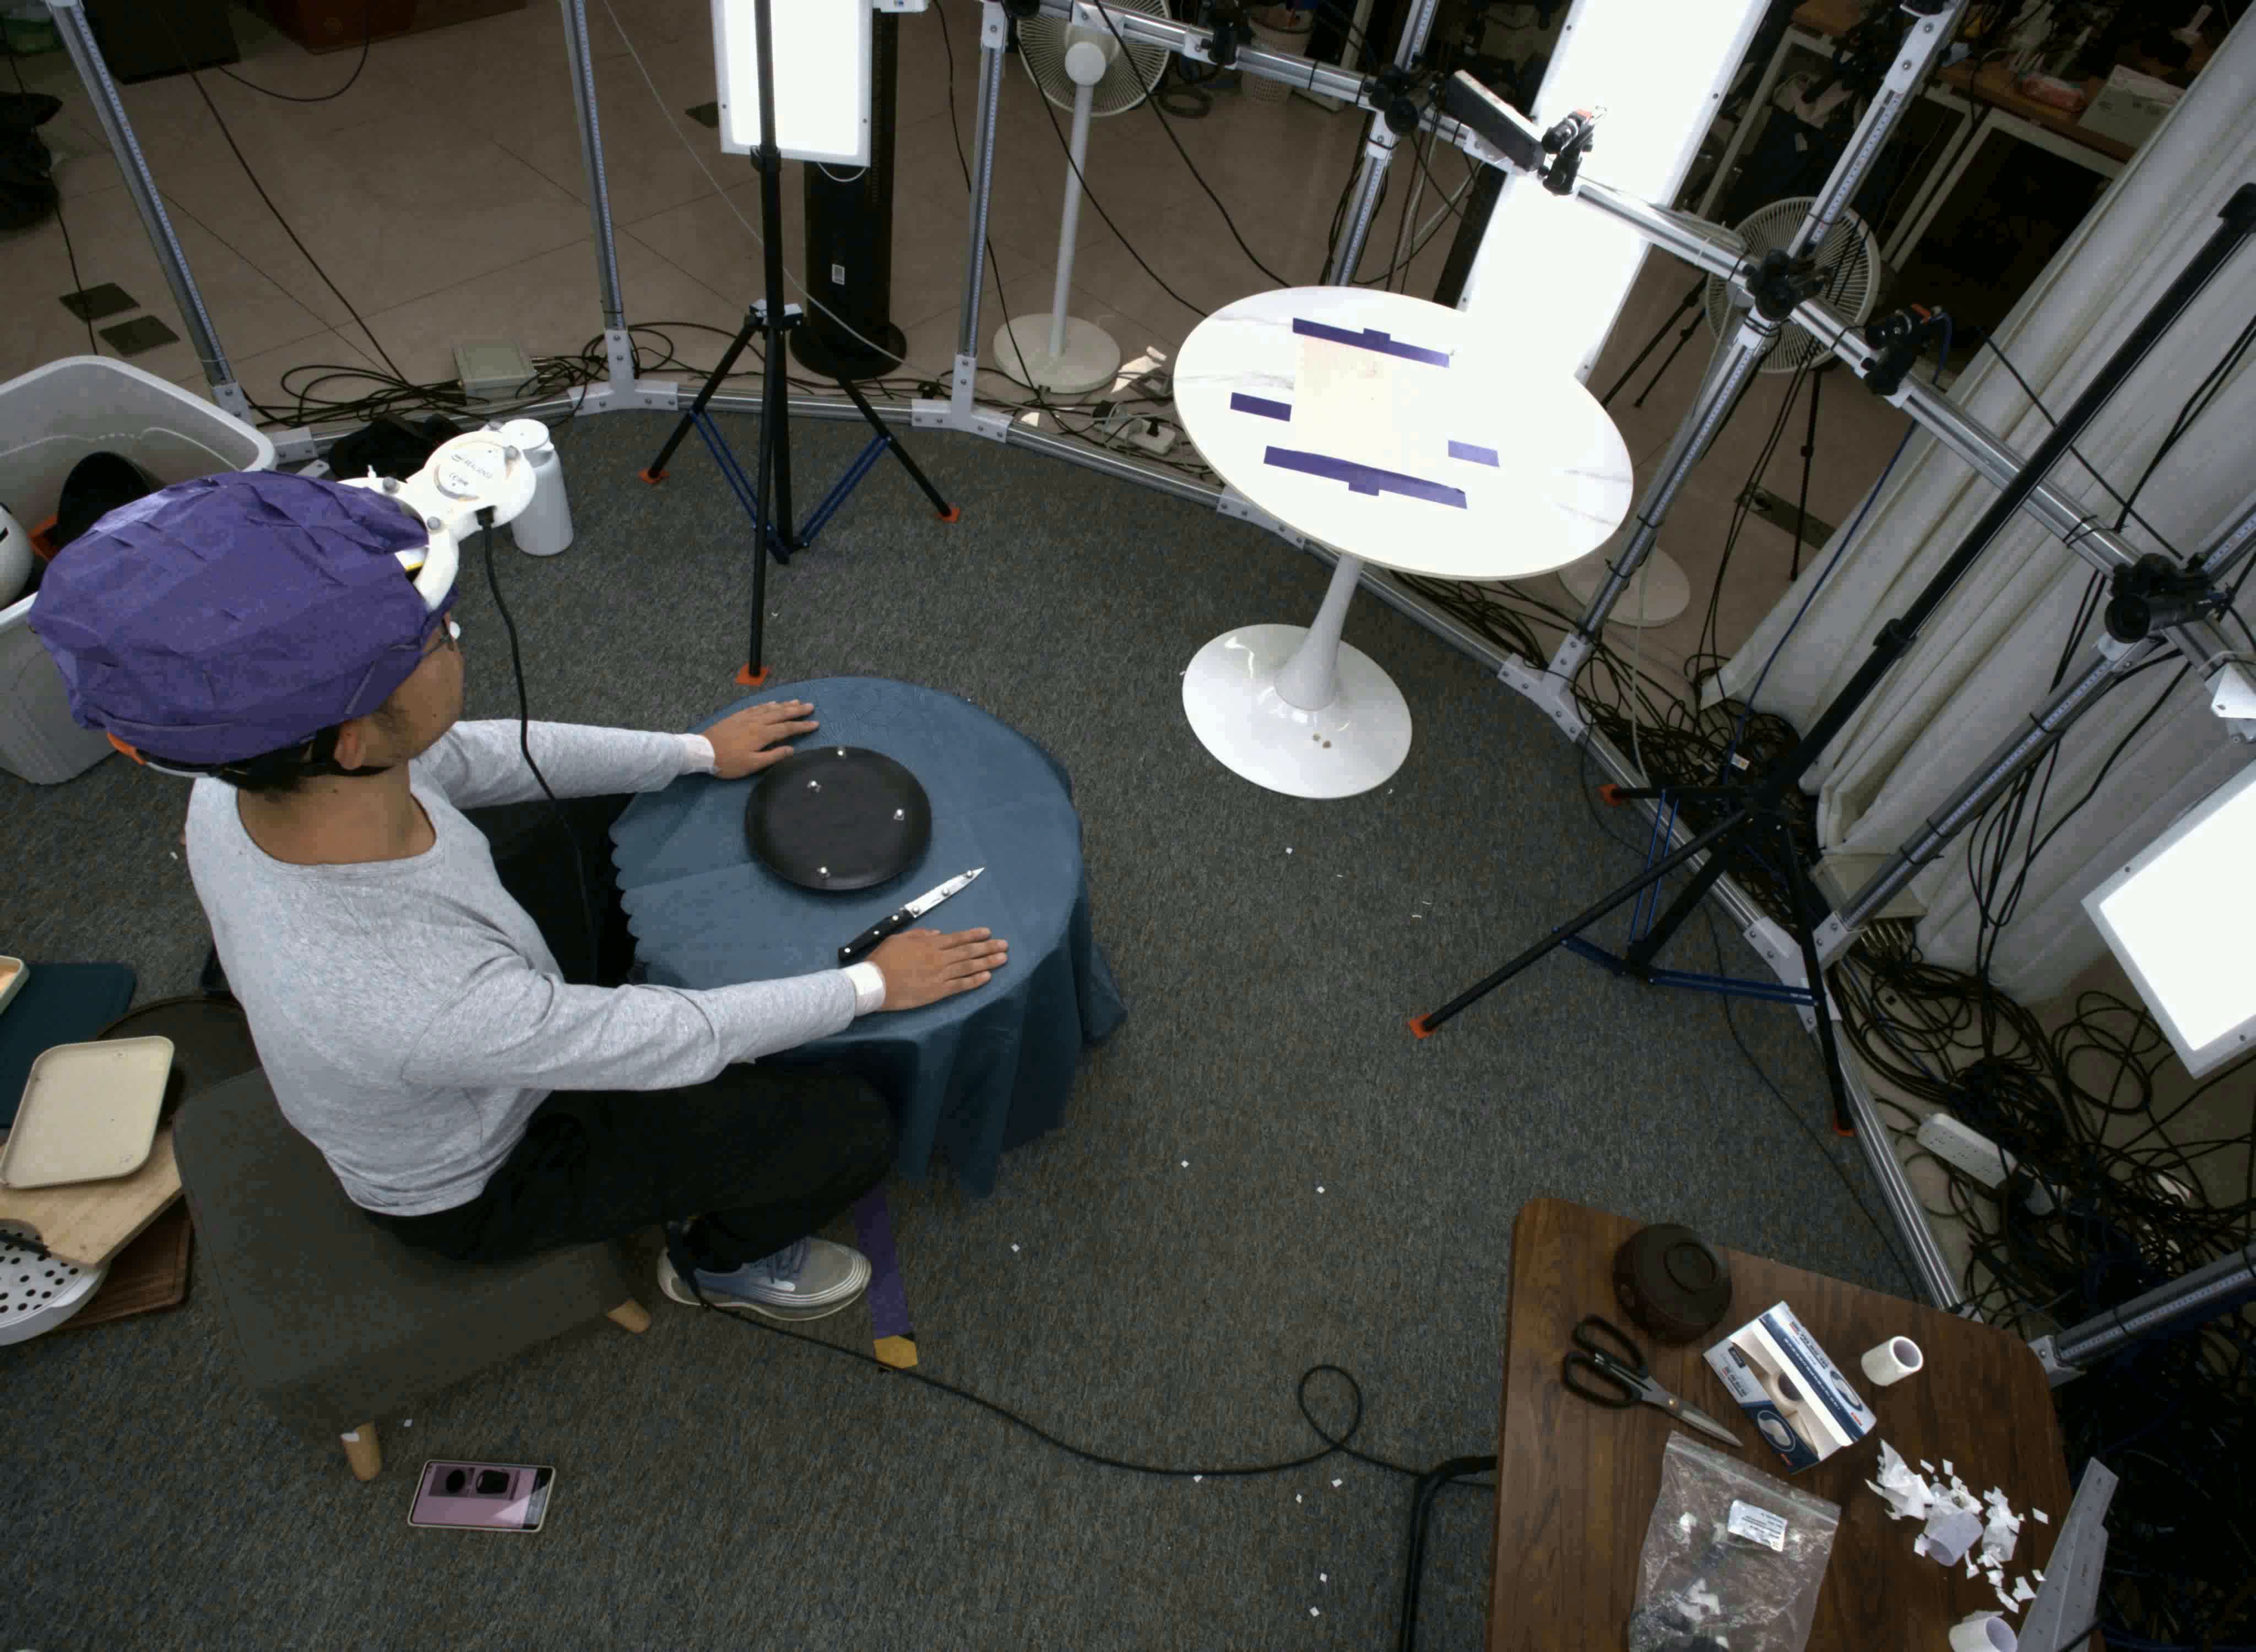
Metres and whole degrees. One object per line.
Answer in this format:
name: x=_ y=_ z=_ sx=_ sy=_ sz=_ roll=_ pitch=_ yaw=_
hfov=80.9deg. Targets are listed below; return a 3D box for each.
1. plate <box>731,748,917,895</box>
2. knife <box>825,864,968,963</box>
plate: x=-0.404 y=-0.006 z=1.730 sx=0.244 sy=0.024 sz=0.240 roll=8 pitch=53 yaw=-9
knife: x=-0.292 y=0.109 z=1.681 sx=0.024 sy=0.016 sz=0.239 roll=42 pitch=53 yaw=17
